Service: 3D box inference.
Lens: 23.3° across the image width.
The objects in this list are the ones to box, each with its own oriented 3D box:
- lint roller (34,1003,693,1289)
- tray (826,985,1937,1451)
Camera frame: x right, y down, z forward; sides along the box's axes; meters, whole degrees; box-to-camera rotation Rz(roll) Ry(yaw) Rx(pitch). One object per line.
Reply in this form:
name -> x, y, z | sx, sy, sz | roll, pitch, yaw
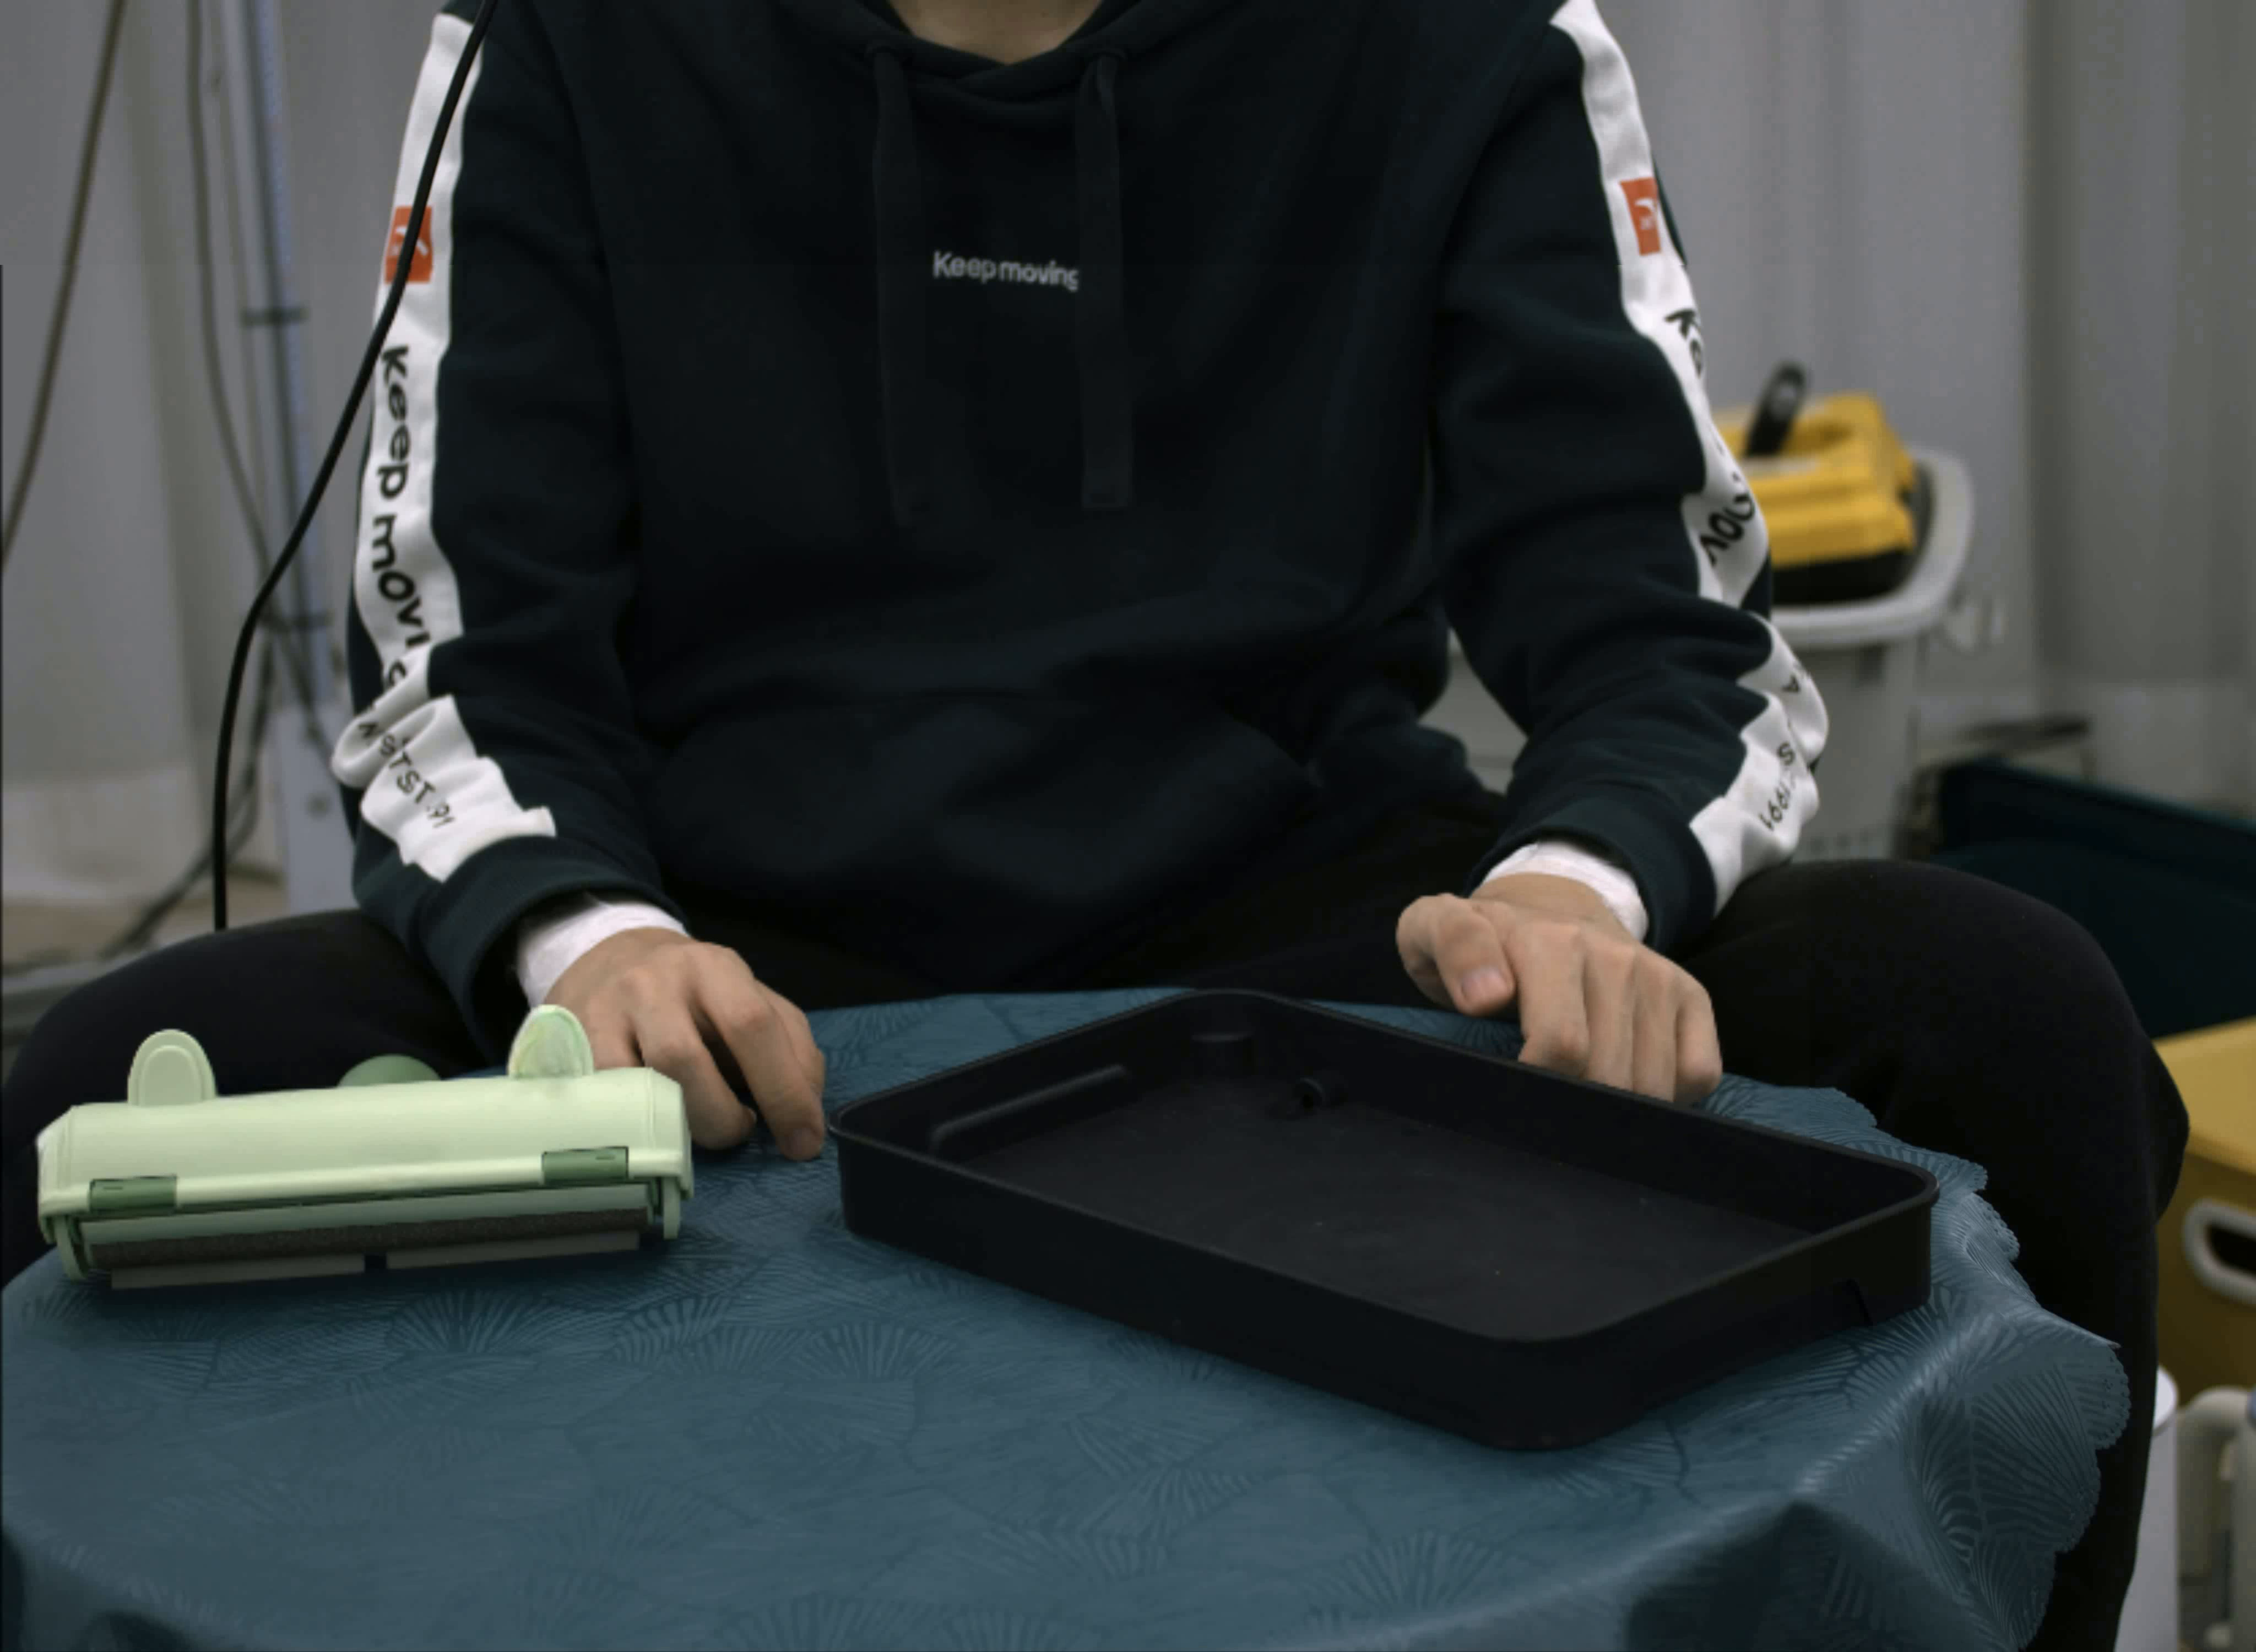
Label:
lint roller -> -0.237, 0.084, 1.725 | 0.198, 0.082, 0.185 | -4, 18, -3
tray -> 0.071, 0.112, 1.640 | 0.184, 0.037, 0.320 | -16, 19, -39
